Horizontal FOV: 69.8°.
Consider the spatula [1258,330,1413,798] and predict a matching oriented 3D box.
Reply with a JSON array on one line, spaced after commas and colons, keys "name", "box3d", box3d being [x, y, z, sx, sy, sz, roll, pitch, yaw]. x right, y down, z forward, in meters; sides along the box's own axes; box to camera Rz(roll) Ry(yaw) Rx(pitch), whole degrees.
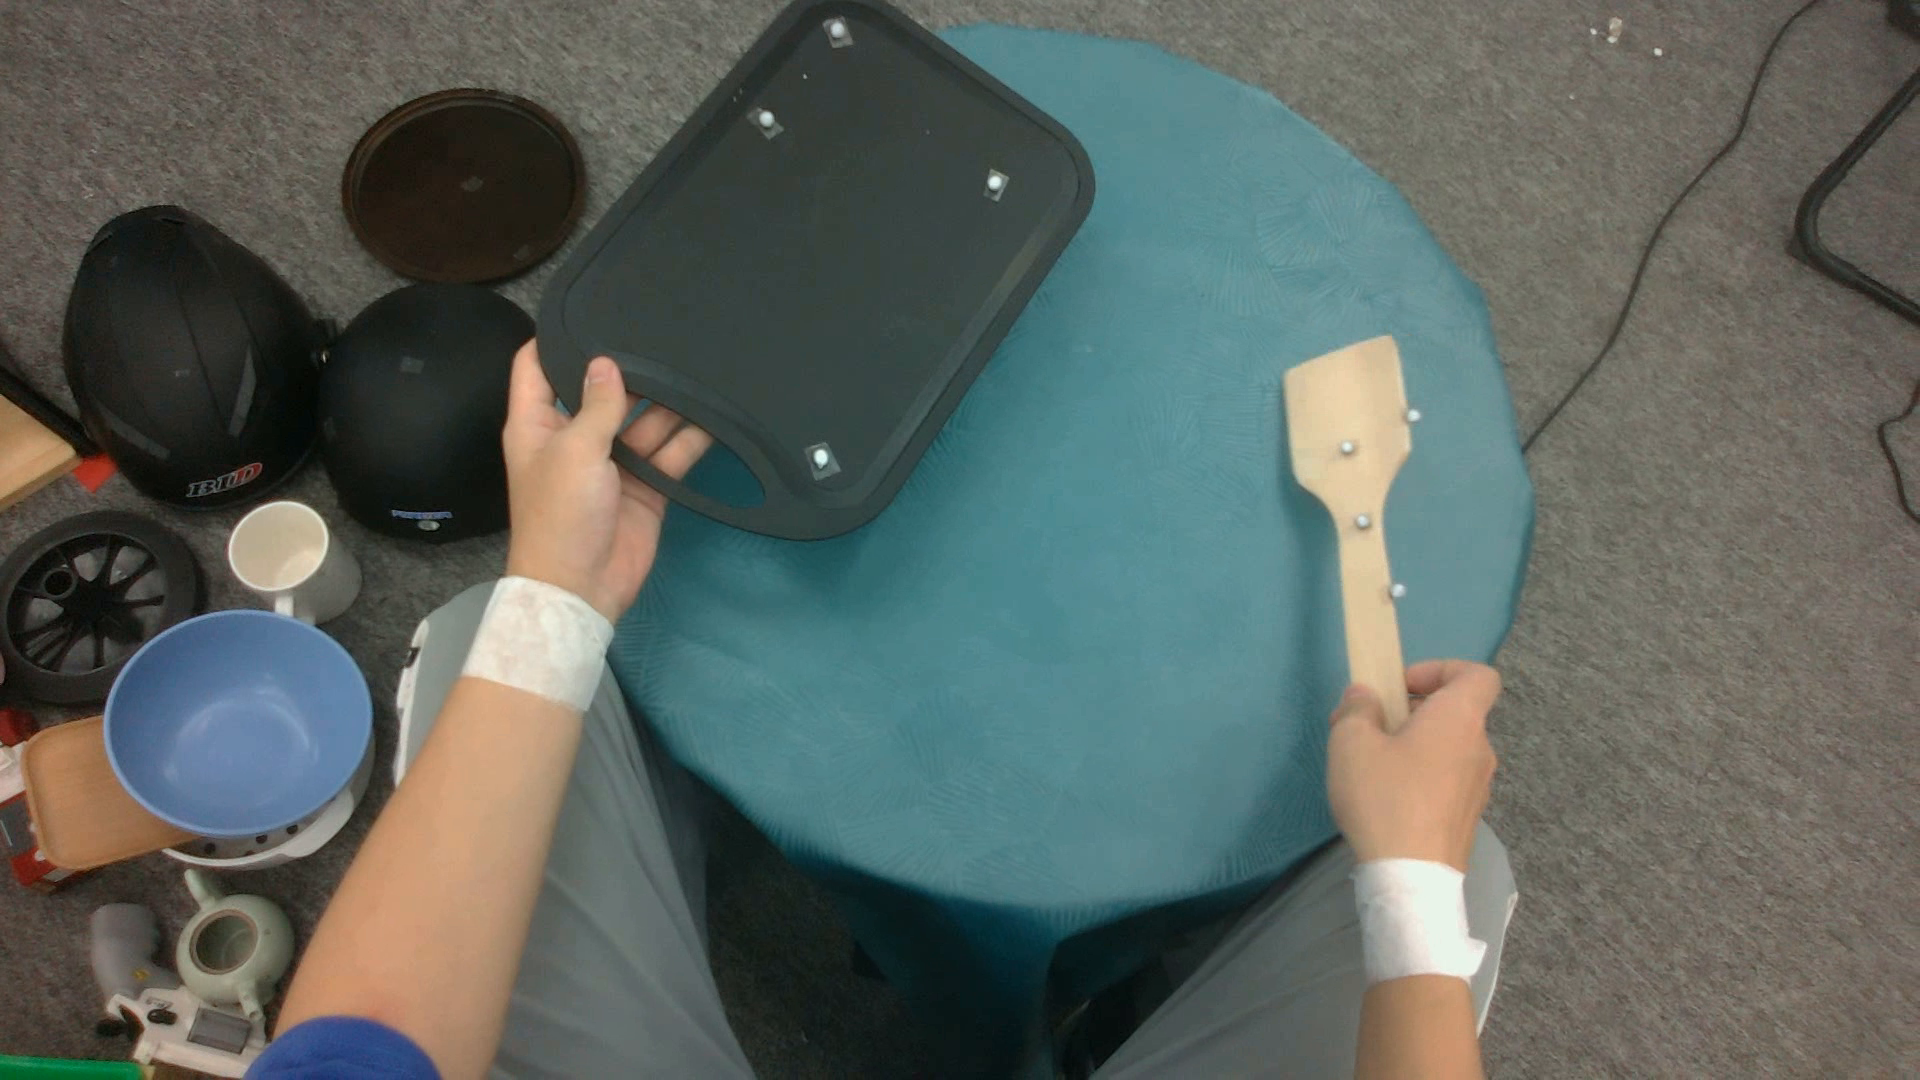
[{"name": "spatula", "box3d": [0.221, 0.006, 0.783, 0.072, 0.010, 0.294, -20, 54, 29]}]

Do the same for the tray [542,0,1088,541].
[{"name": "tray", "box3d": [-0.075, -0.154, 0.766, 0.211, 0.010, 0.326, 33, 69, -1]}]
